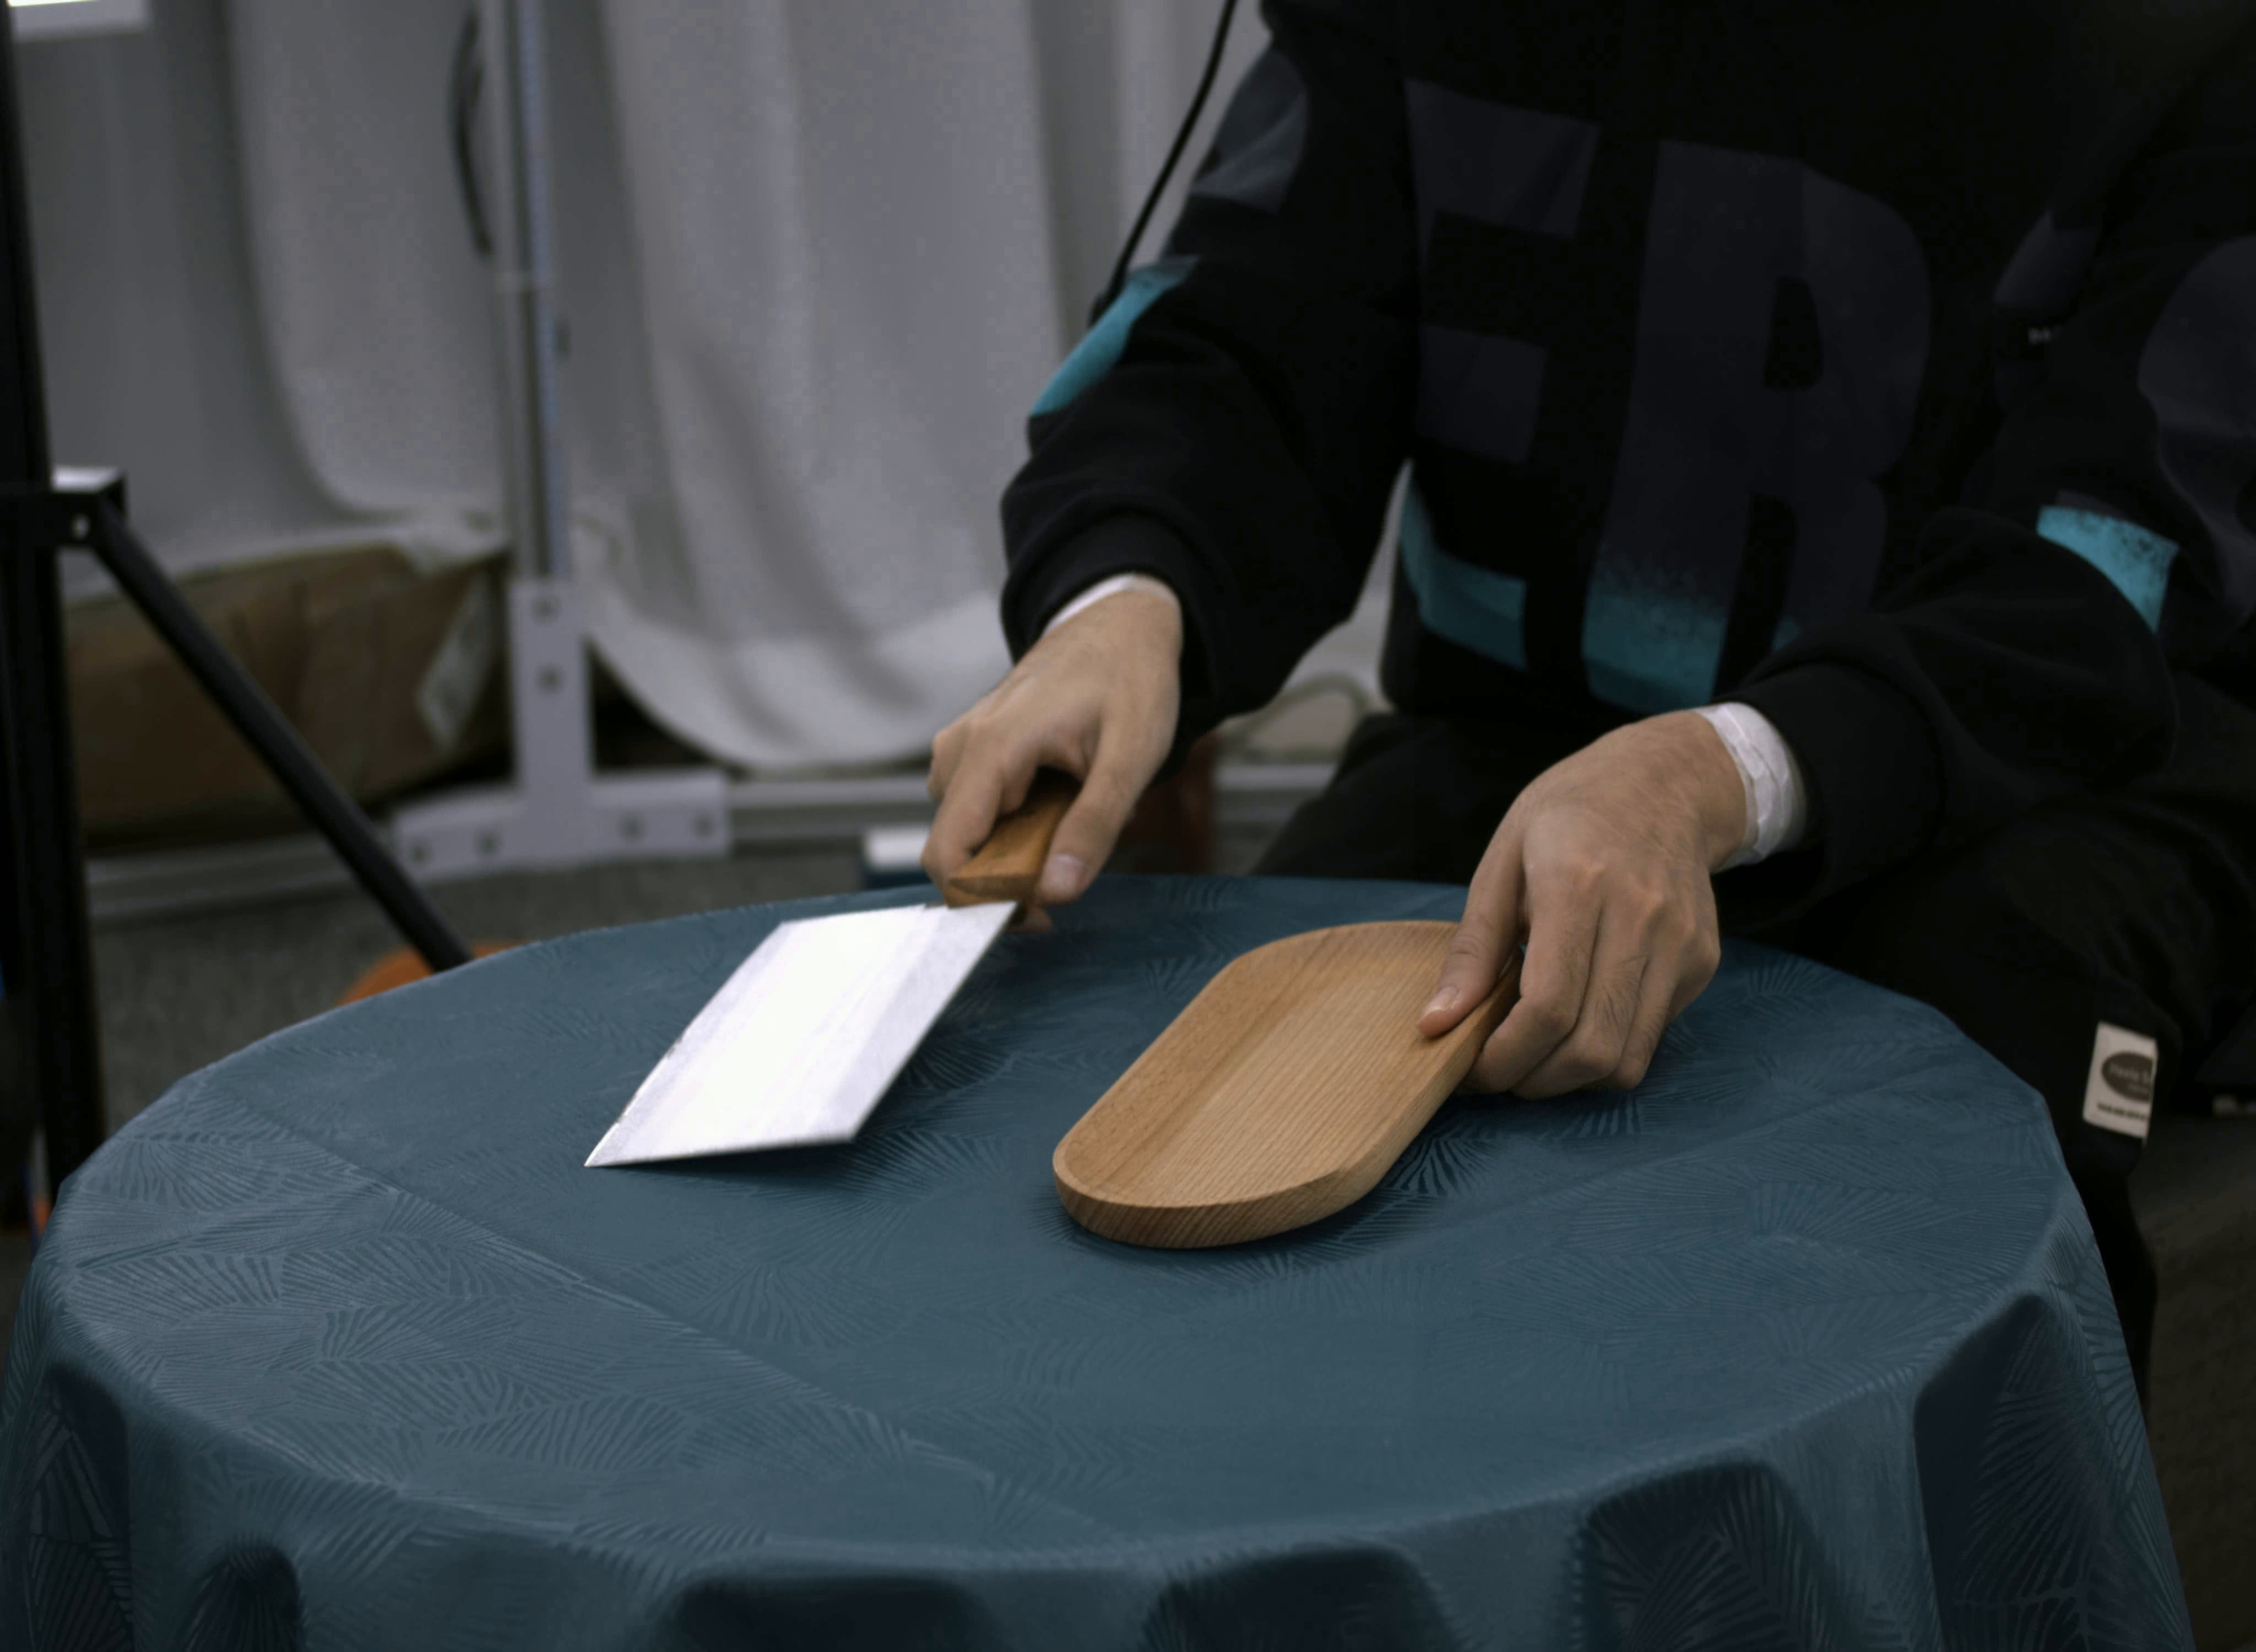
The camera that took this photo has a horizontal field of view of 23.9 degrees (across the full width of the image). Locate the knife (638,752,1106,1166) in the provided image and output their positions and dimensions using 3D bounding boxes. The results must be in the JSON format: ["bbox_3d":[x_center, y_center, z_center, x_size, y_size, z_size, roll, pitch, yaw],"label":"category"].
[{"bbox_3d":[-0.082,0.042,1.723,0.094,0.021,0.304,-6,21,19],"label":"knife"}]

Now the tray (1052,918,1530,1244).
[{"bbox_3d":[0.052,0.075,1.604,0.103,0.020,0.228,0,19,23],"label":"tray"}]
